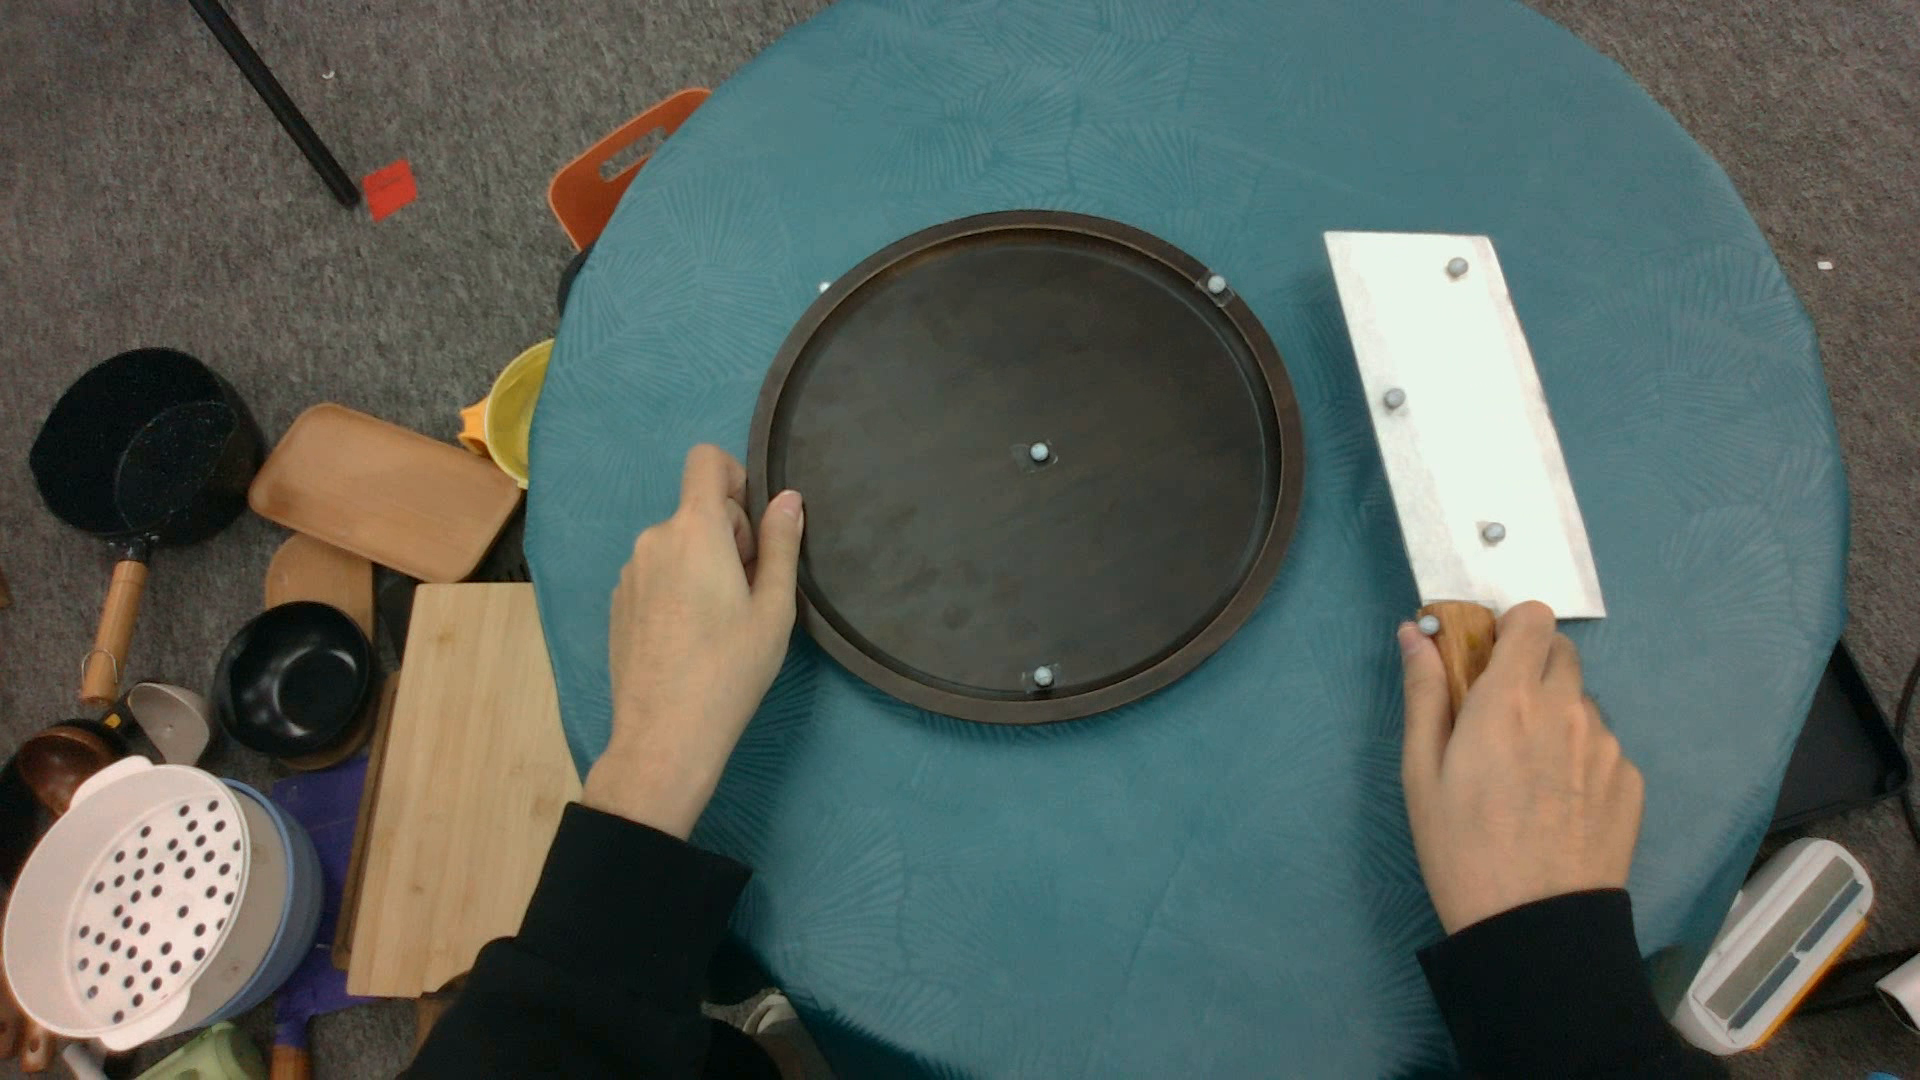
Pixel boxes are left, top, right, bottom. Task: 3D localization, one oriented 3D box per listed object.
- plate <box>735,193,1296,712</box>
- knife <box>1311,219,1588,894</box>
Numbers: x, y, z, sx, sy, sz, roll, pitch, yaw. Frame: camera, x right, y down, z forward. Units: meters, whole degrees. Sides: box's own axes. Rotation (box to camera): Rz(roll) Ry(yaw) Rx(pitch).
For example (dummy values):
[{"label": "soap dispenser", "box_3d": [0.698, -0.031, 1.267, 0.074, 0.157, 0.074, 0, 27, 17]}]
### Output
[{"label": "plate", "box_3d": [0.024, -0.045, 0.627, 0.255, 0.029, 0.255, -1, 69, 3]}, {"label": "knife", "box_3d": [0.222, -0.008, 0.591, 0.093, 0.021, 0.306, -2, 69, -18]}]
